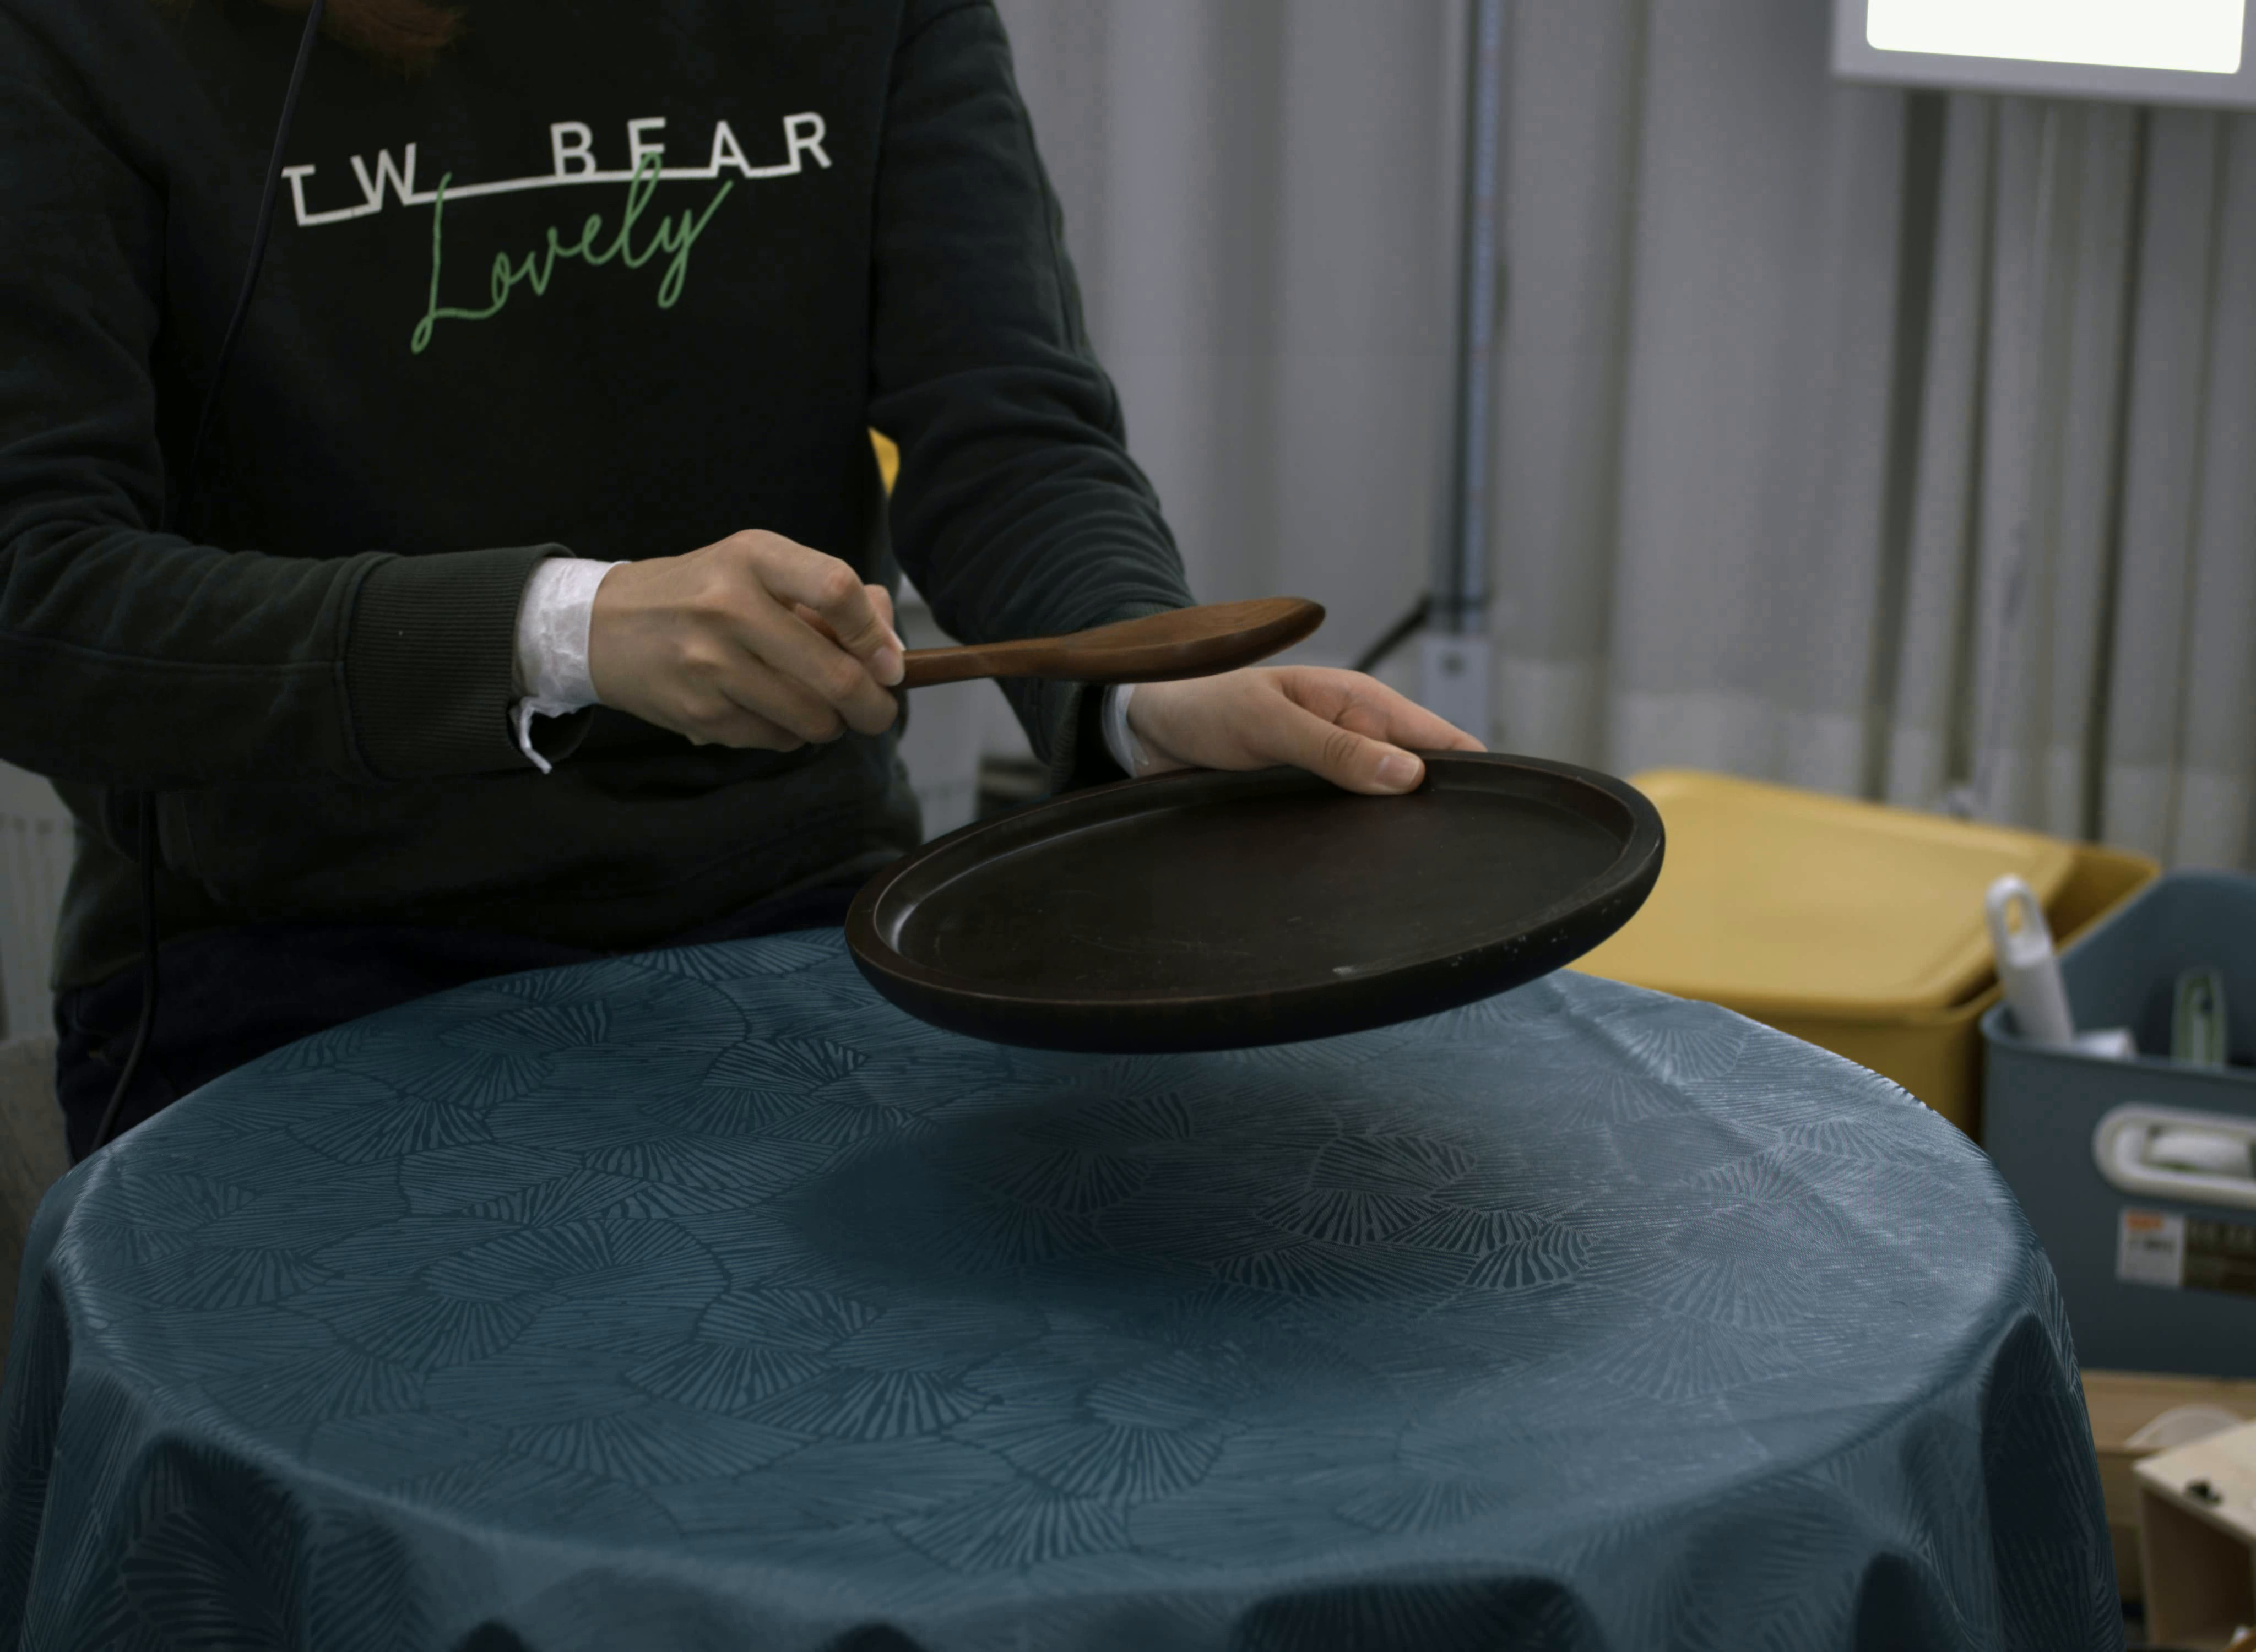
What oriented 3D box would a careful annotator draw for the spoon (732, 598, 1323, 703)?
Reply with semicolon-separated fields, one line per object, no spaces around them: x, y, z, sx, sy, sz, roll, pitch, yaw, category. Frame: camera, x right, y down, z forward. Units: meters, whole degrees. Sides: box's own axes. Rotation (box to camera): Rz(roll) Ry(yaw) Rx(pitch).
-0.035;-0.053;1.692;0.213;0.017;0.075;-4;12;29;spoon

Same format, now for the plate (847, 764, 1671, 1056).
0.040;0.023;1.609;0.254;0.029;0.253;-5;16;2;plate
